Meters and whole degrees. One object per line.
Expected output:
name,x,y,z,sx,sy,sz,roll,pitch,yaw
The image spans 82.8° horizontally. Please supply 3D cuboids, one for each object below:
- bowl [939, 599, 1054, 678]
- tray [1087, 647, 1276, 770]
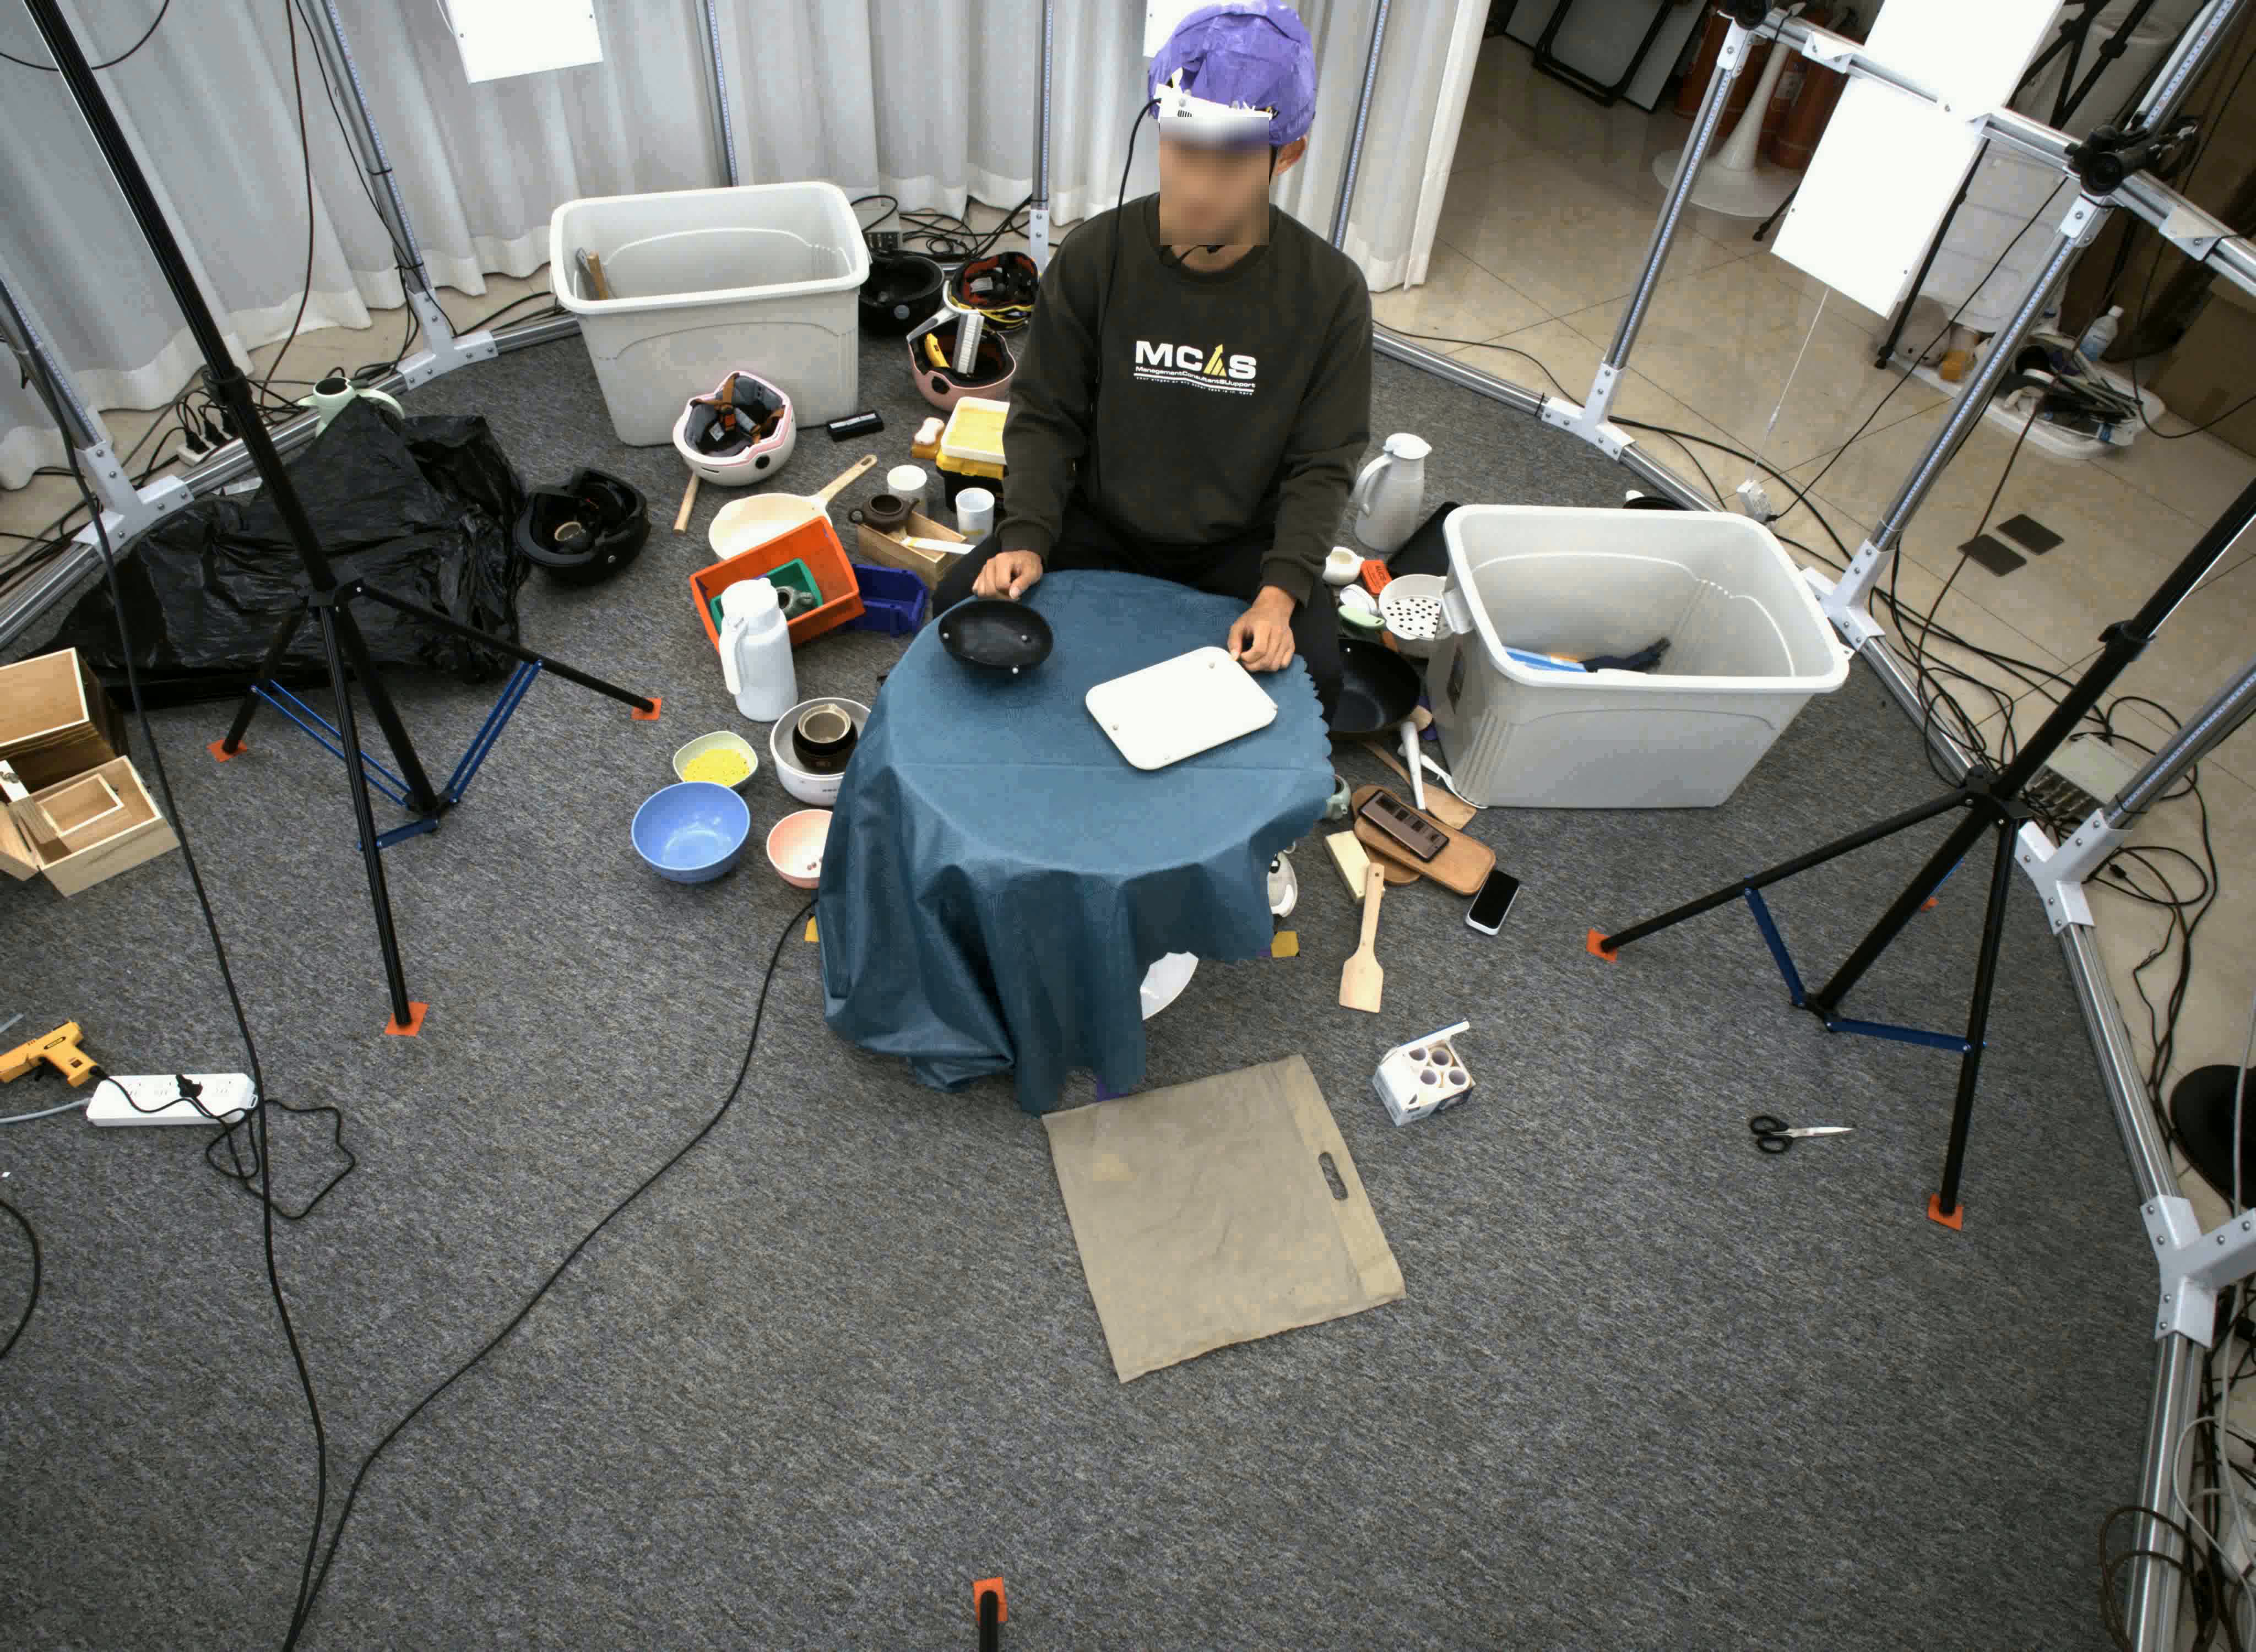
bowl,-0.188,-0.256,1.833,0.171,0.065,0.140,18,49,13
tray,0.075,-0.166,1.803,0.240,0.017,0.175,-22,53,-22
